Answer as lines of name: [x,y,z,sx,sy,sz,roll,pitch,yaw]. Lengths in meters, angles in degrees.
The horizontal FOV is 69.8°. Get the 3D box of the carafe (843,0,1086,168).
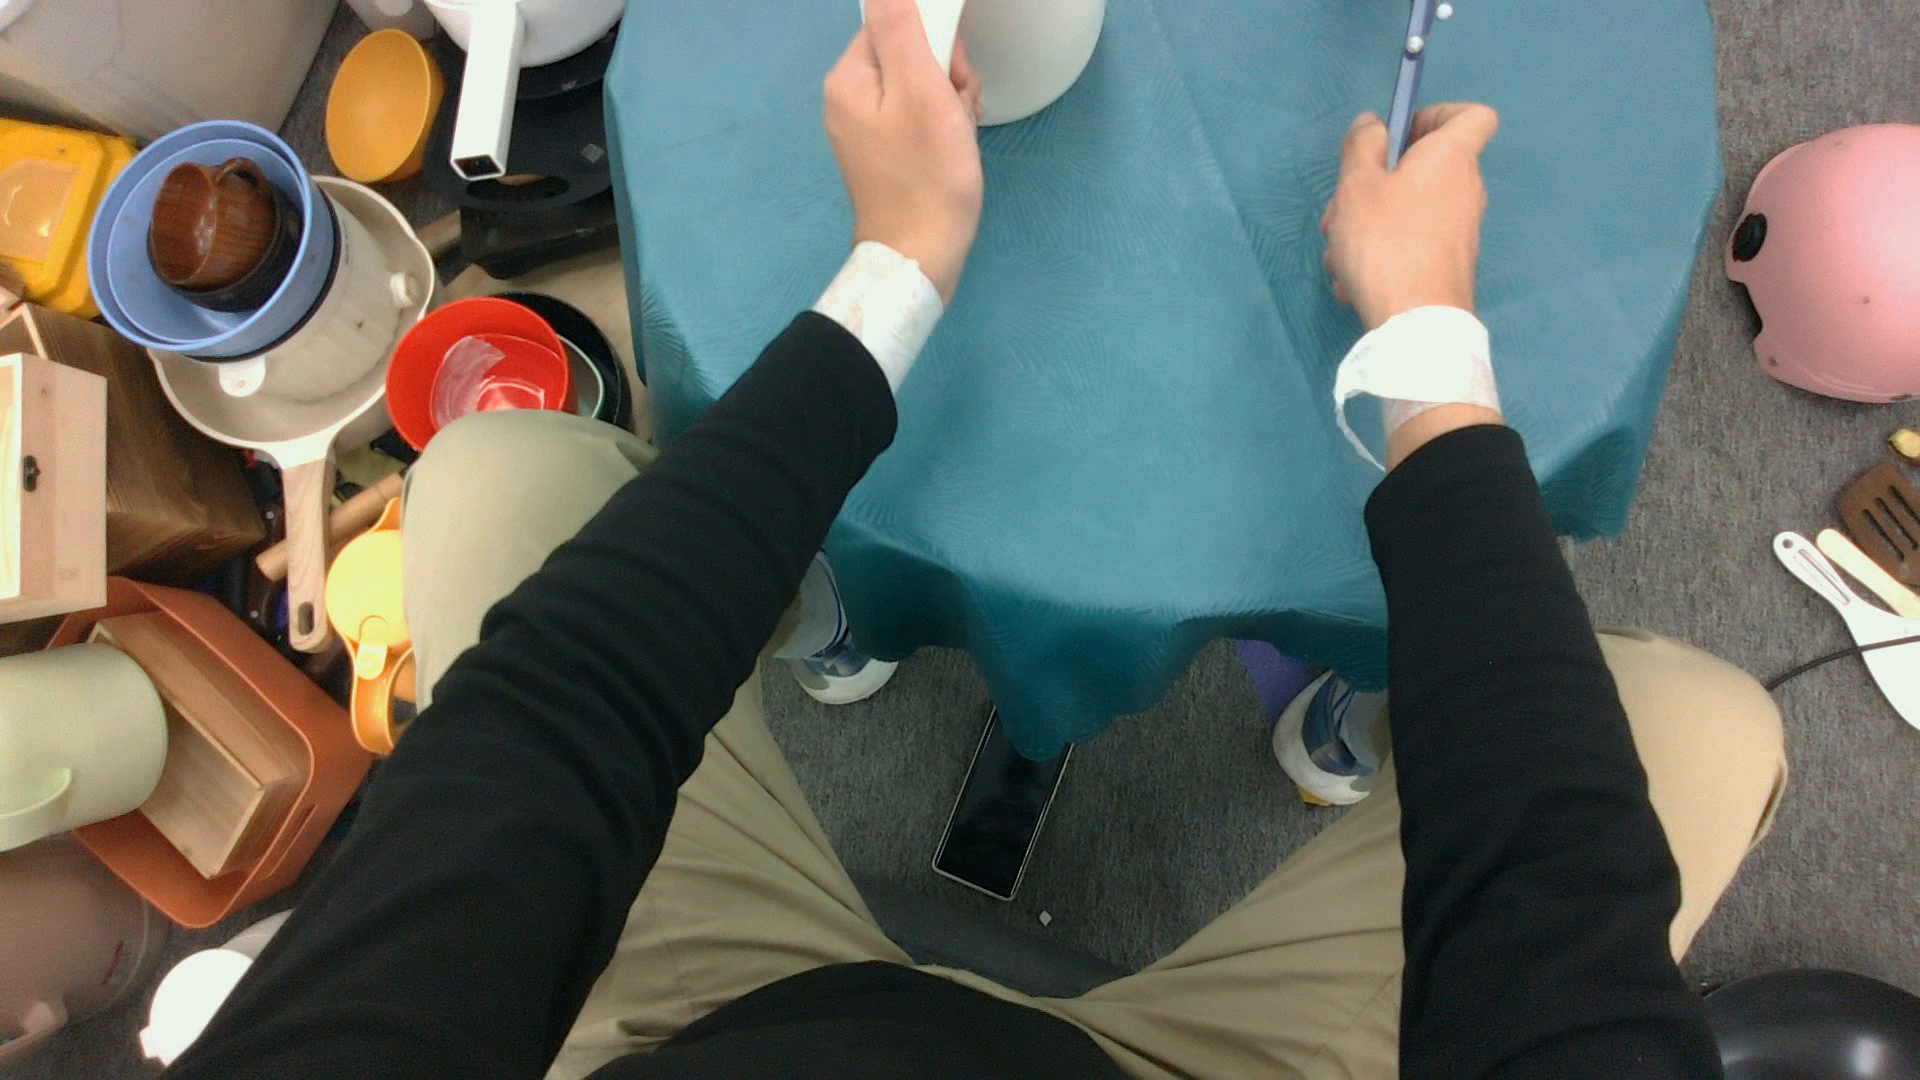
carafe: [-0.003,-0.282,0.676,0.132,0.182,0.191,11,82,3]

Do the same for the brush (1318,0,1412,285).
brush: [0.225,-0.262,0.696,0.095,0.033,0.273,4,81,7]
